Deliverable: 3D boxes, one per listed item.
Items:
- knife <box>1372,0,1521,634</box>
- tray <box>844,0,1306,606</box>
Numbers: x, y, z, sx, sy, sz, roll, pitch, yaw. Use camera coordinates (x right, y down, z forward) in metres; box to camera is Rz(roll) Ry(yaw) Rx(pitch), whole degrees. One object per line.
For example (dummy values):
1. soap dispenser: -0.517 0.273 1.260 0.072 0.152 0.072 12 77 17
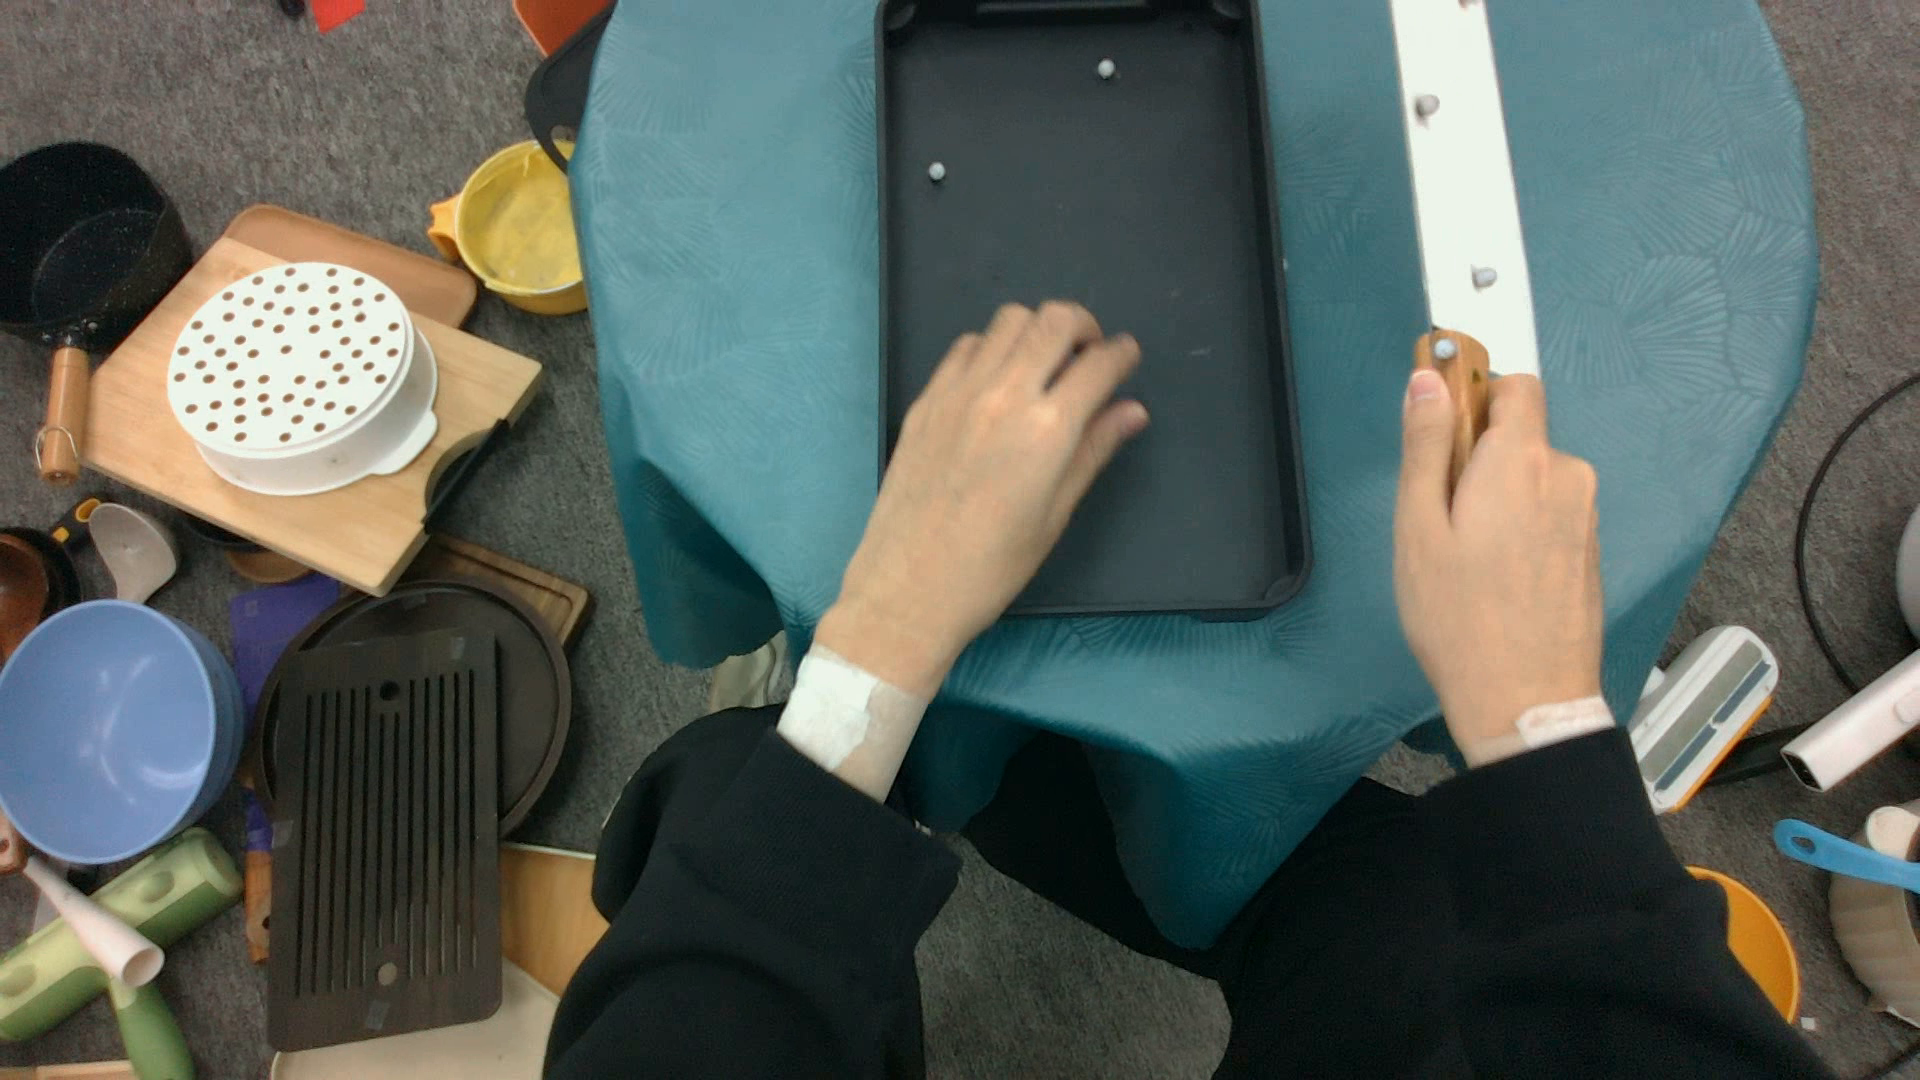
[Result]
1. knife: 0.205 -0.111 0.569 0.093 0.021 0.306 8 74 -43
2. tray: 0.045 -0.129 0.635 0.184 0.037 0.319 -4 72 -2
